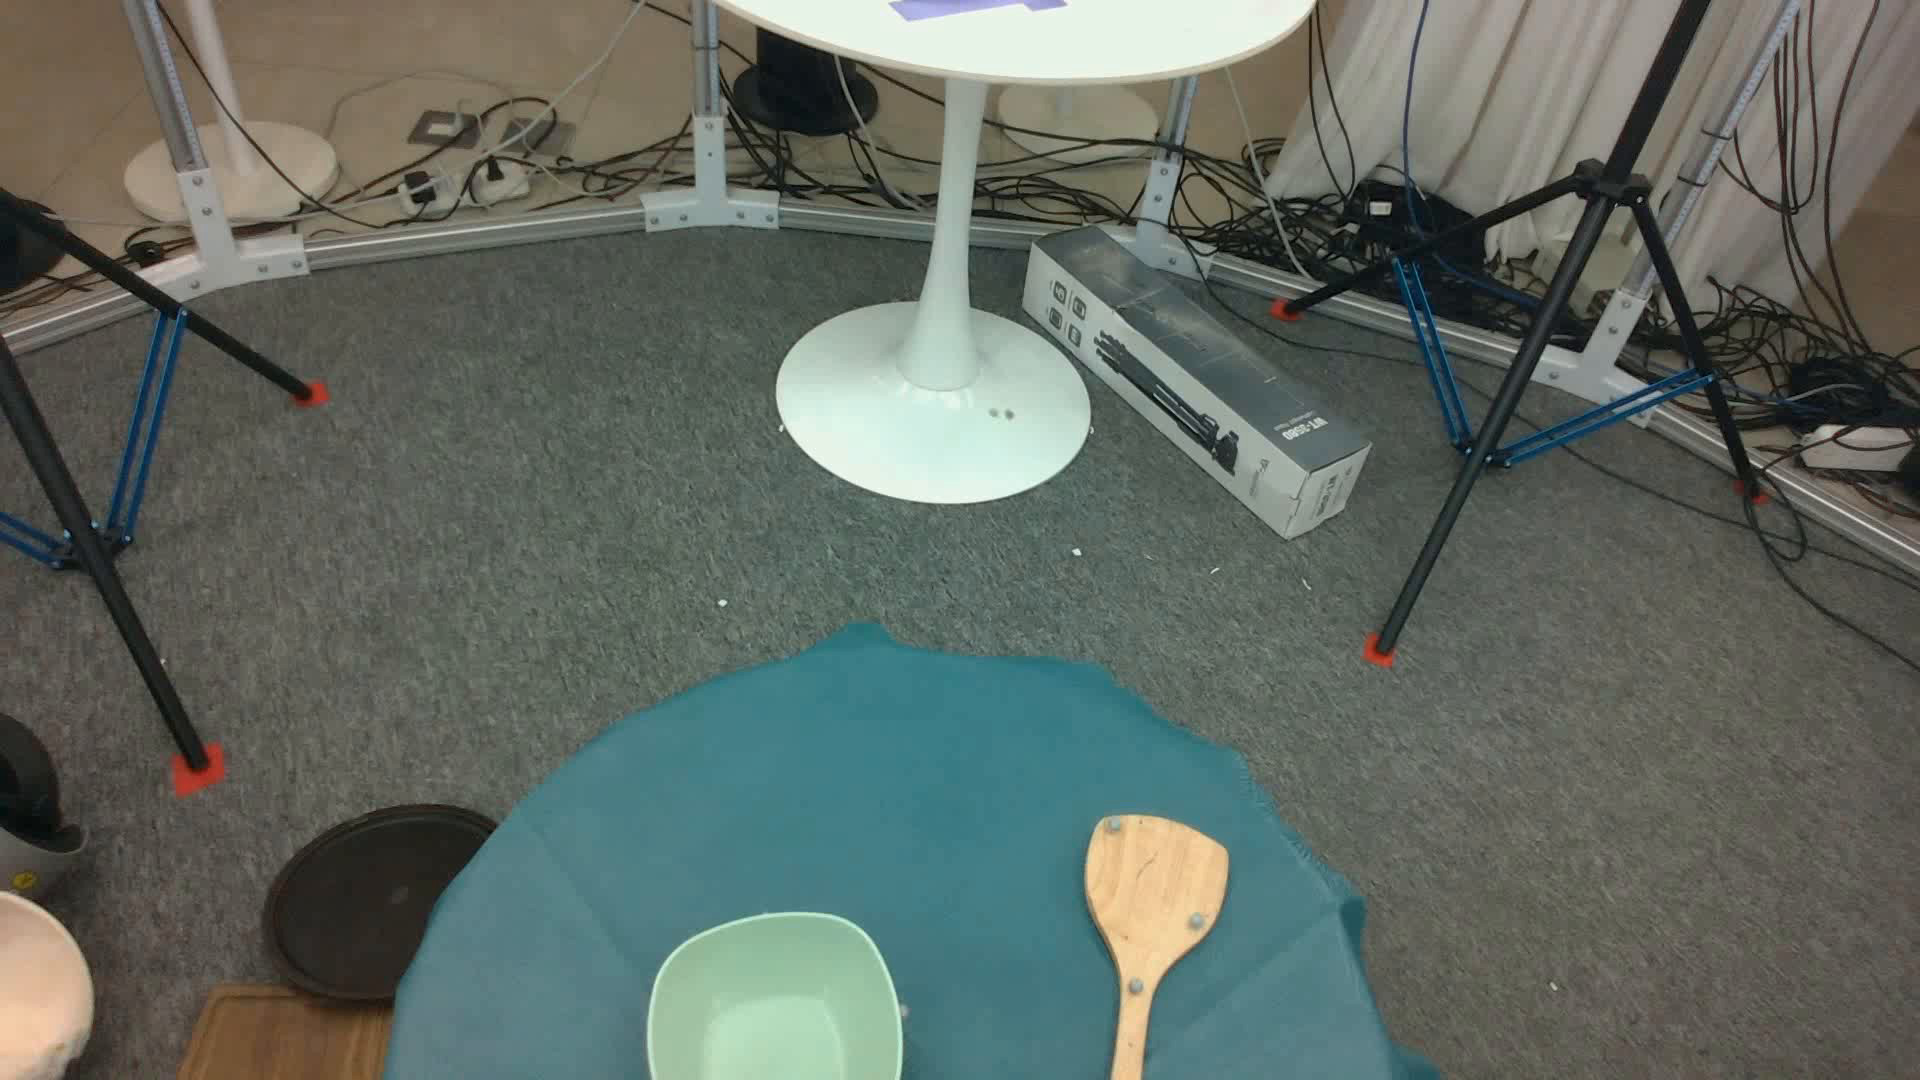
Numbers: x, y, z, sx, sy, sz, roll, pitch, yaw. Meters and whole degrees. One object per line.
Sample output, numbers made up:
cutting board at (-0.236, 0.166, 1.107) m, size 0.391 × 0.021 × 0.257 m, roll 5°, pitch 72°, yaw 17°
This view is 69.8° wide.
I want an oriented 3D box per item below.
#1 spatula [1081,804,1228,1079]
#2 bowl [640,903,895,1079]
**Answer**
spatula at (0.096, 0.320, 0.806) m, size 0.096 × 0.018 × 0.393 m, roll 12°, pitch 45°, yaw 5°
bowl at (-0.109, 0.283, 0.783) m, size 0.151 × 0.058 × 0.152 m, roll 5°, pitch 43°, yaw -4°
